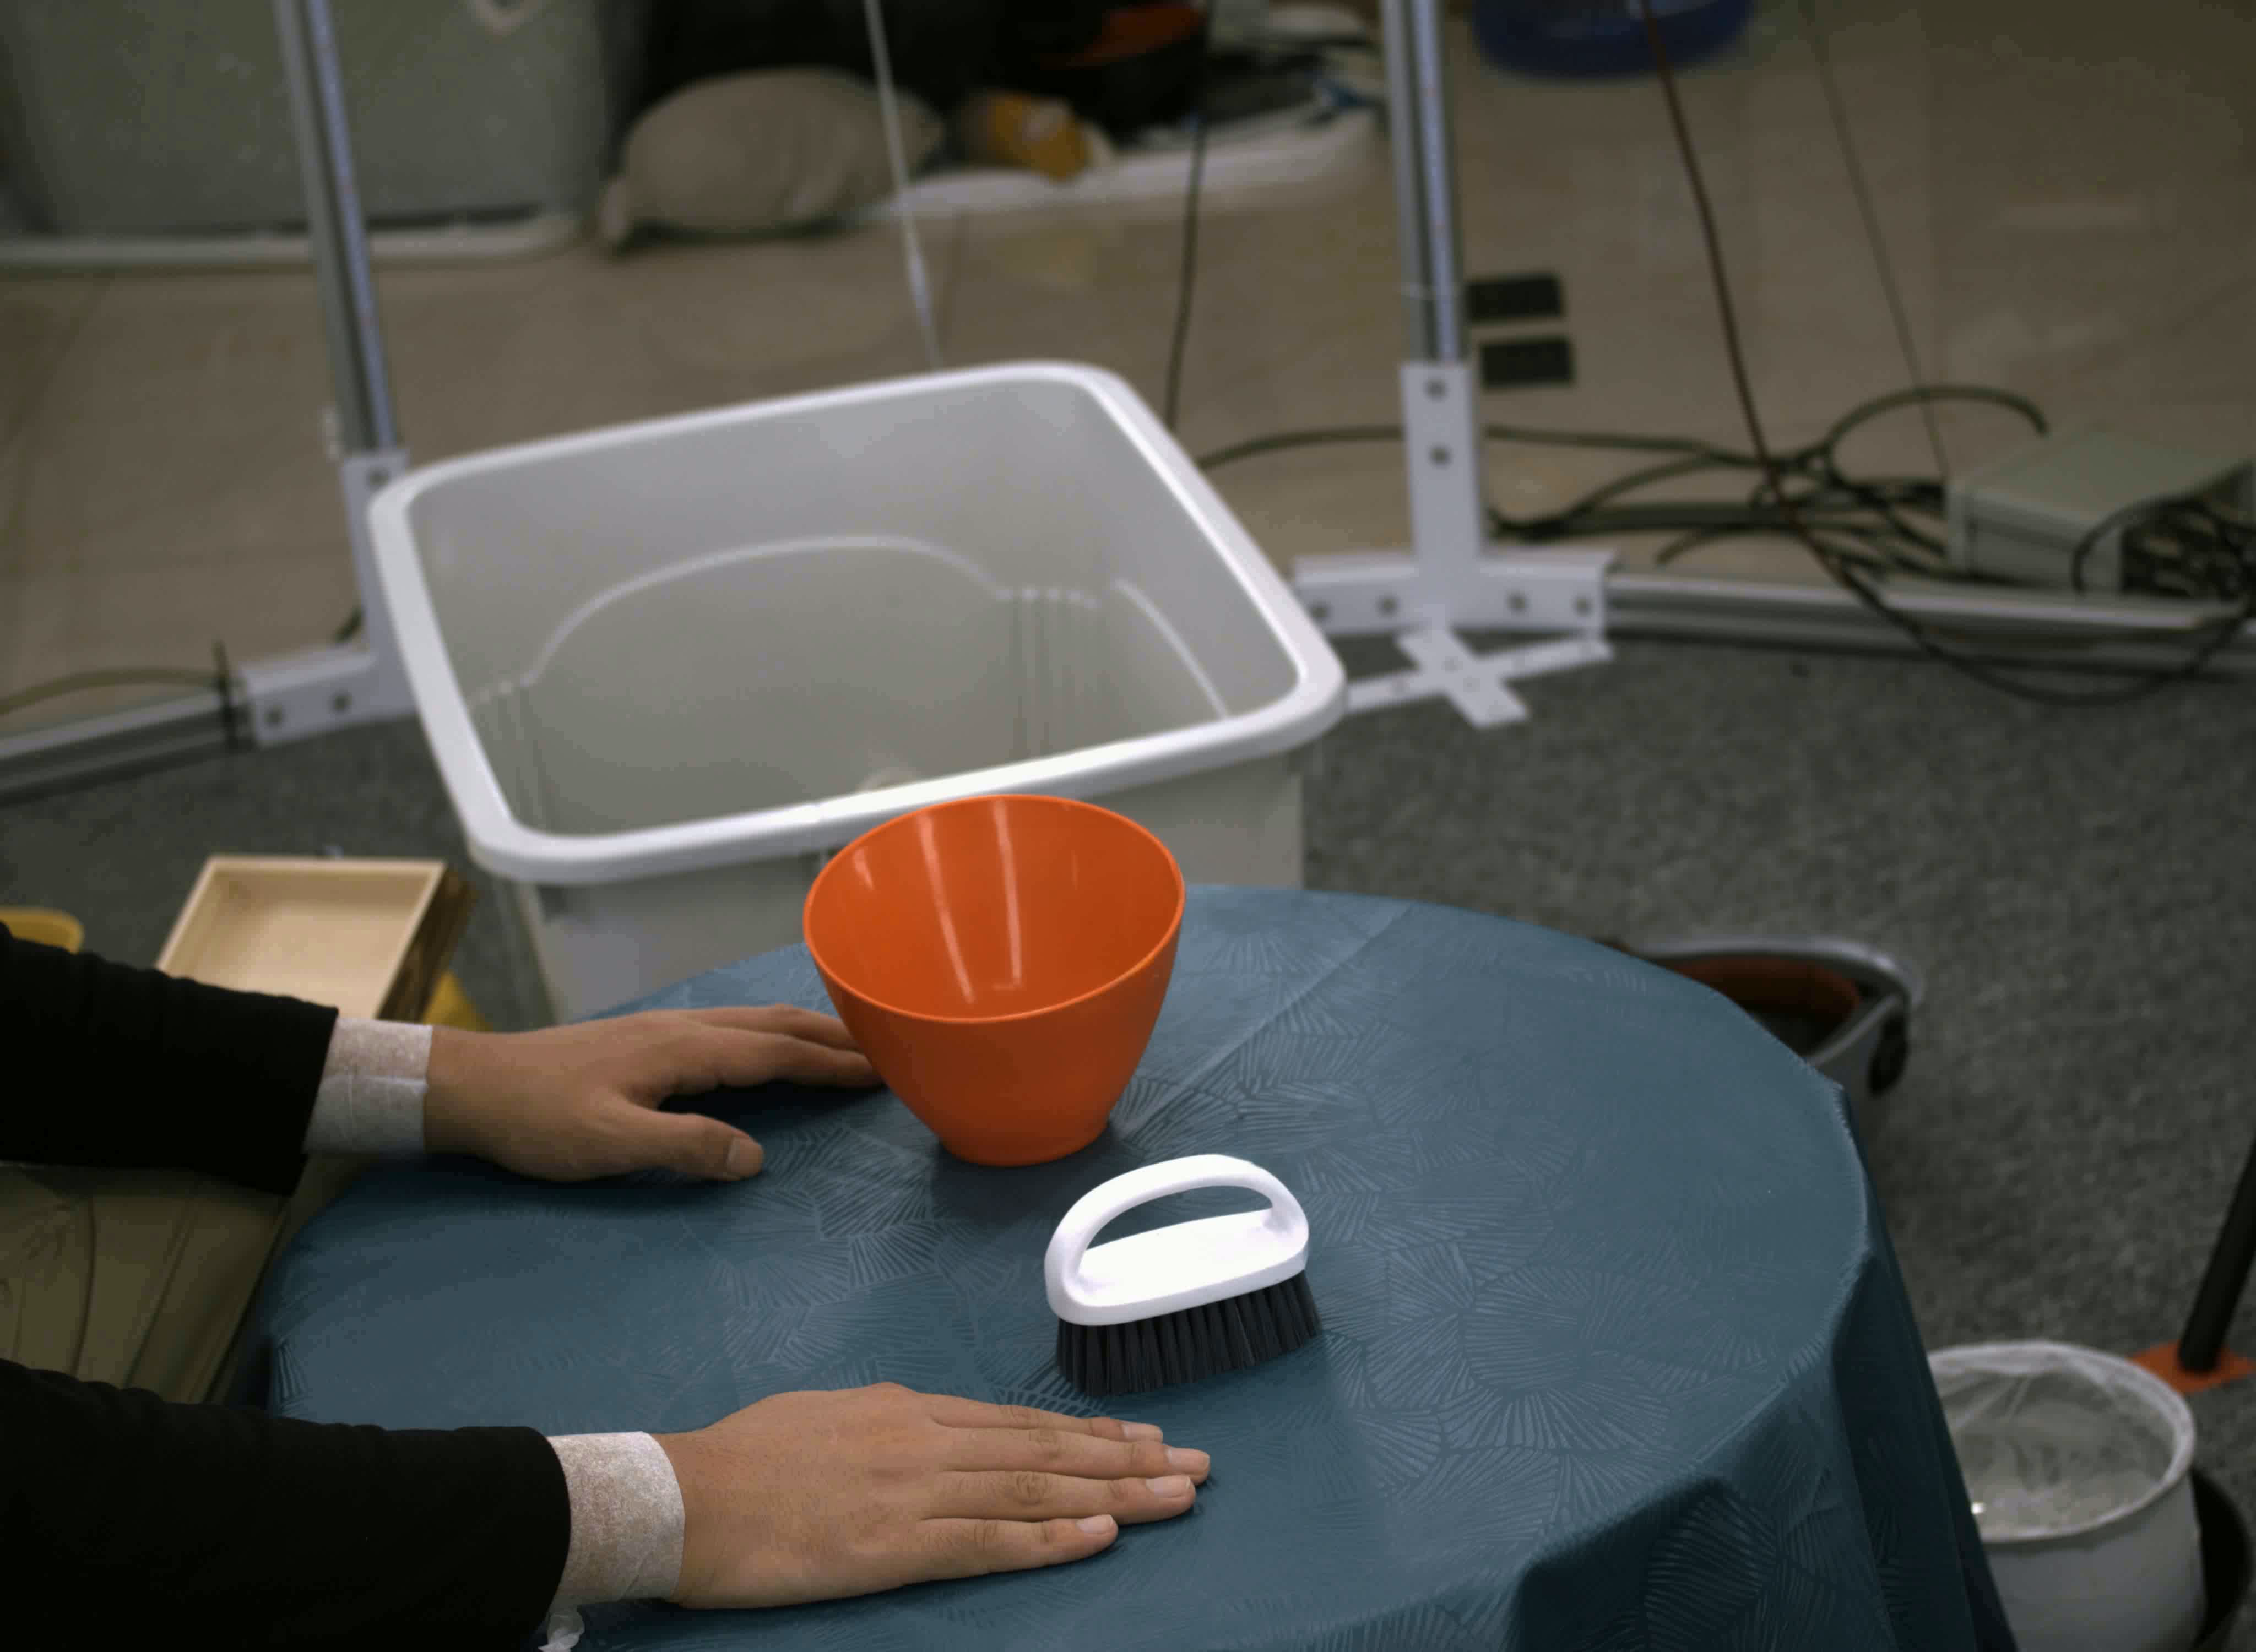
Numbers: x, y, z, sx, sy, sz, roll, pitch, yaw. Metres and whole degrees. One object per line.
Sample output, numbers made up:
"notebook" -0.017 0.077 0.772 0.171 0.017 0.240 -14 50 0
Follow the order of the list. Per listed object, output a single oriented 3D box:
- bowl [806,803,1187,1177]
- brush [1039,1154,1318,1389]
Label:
"bowl" -0.045 0.070 2.192 0.148 0.106 0.146 -6 26 3
"brush" 0.016 0.153 2.024 0.099 0.074 0.049 -12 27 -11
